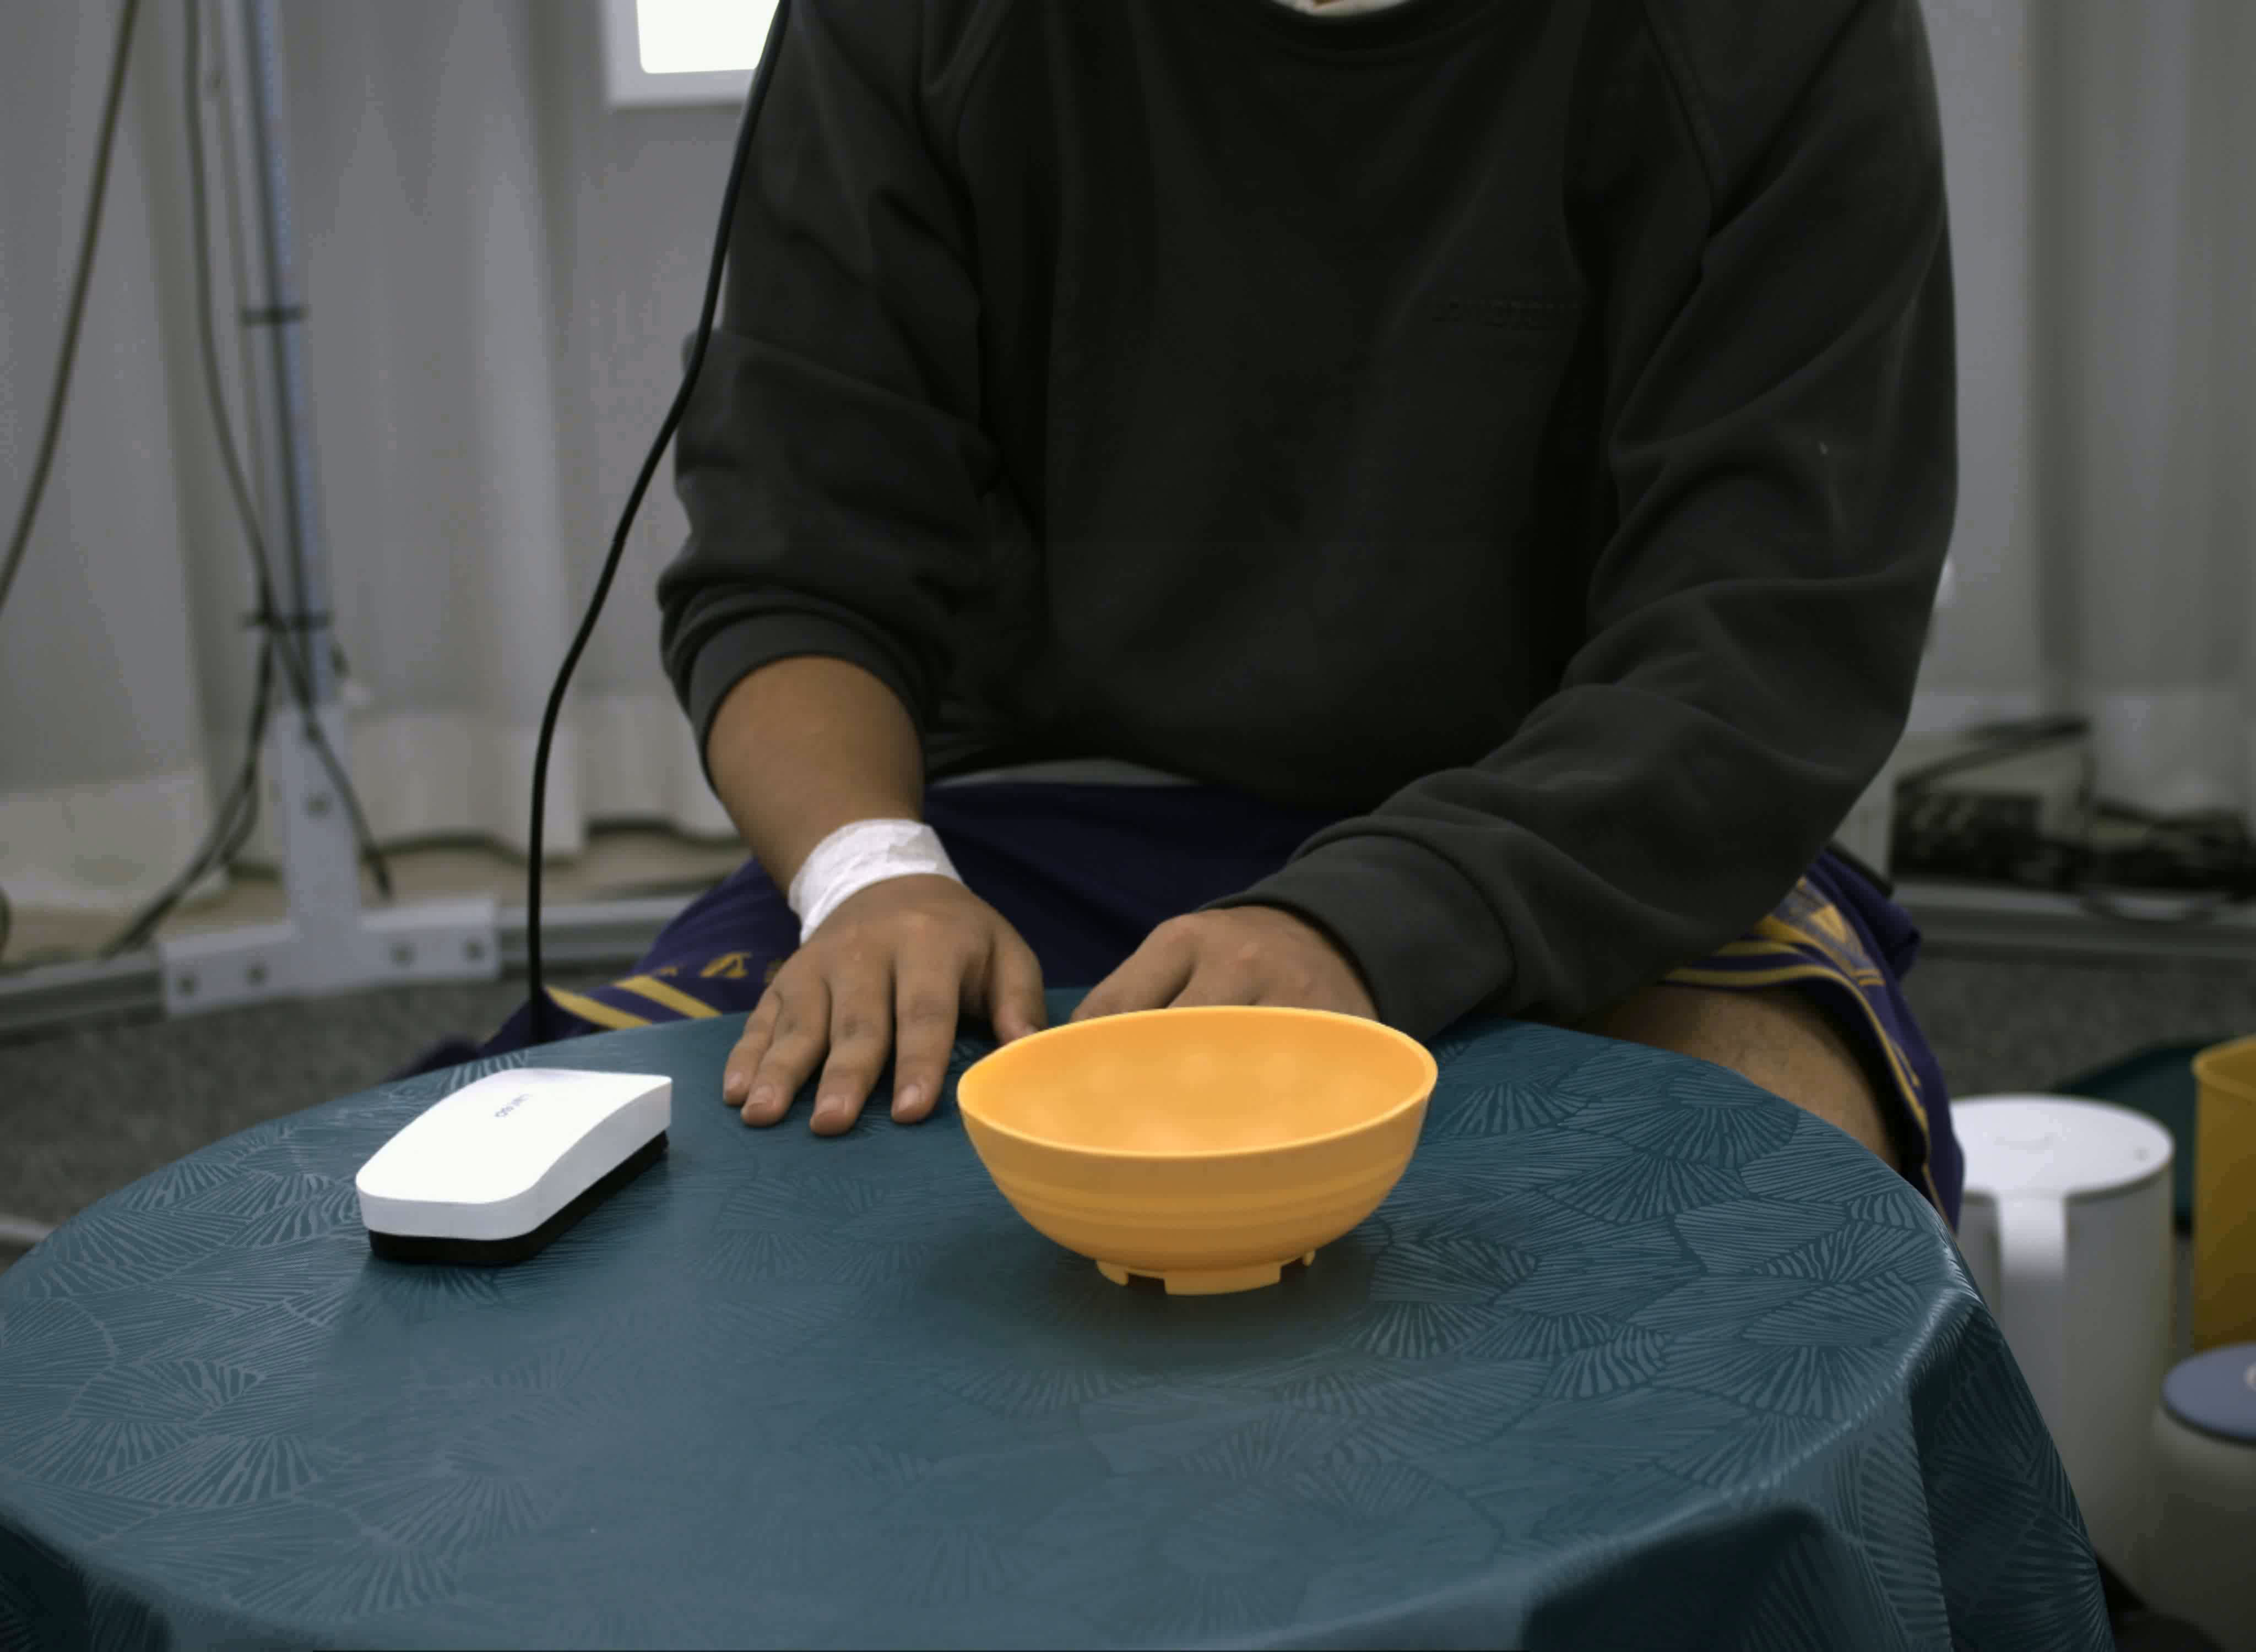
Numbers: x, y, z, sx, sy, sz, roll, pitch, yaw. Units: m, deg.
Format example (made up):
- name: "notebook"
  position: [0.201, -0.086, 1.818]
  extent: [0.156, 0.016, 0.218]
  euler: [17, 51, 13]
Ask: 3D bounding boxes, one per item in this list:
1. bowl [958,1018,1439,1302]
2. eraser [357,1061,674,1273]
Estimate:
- name: "bowl"
  position: [0.021, 0.105, 1.644]
  extent: [0.145, 0.060, 0.146]
  euler: [-1, 13, 0]
- name: "eraser"
  position: [-0.191, 0.104, 1.733]
  extent: [0.063, 0.034, 0.132]
  euler: [3, 17, 19]
